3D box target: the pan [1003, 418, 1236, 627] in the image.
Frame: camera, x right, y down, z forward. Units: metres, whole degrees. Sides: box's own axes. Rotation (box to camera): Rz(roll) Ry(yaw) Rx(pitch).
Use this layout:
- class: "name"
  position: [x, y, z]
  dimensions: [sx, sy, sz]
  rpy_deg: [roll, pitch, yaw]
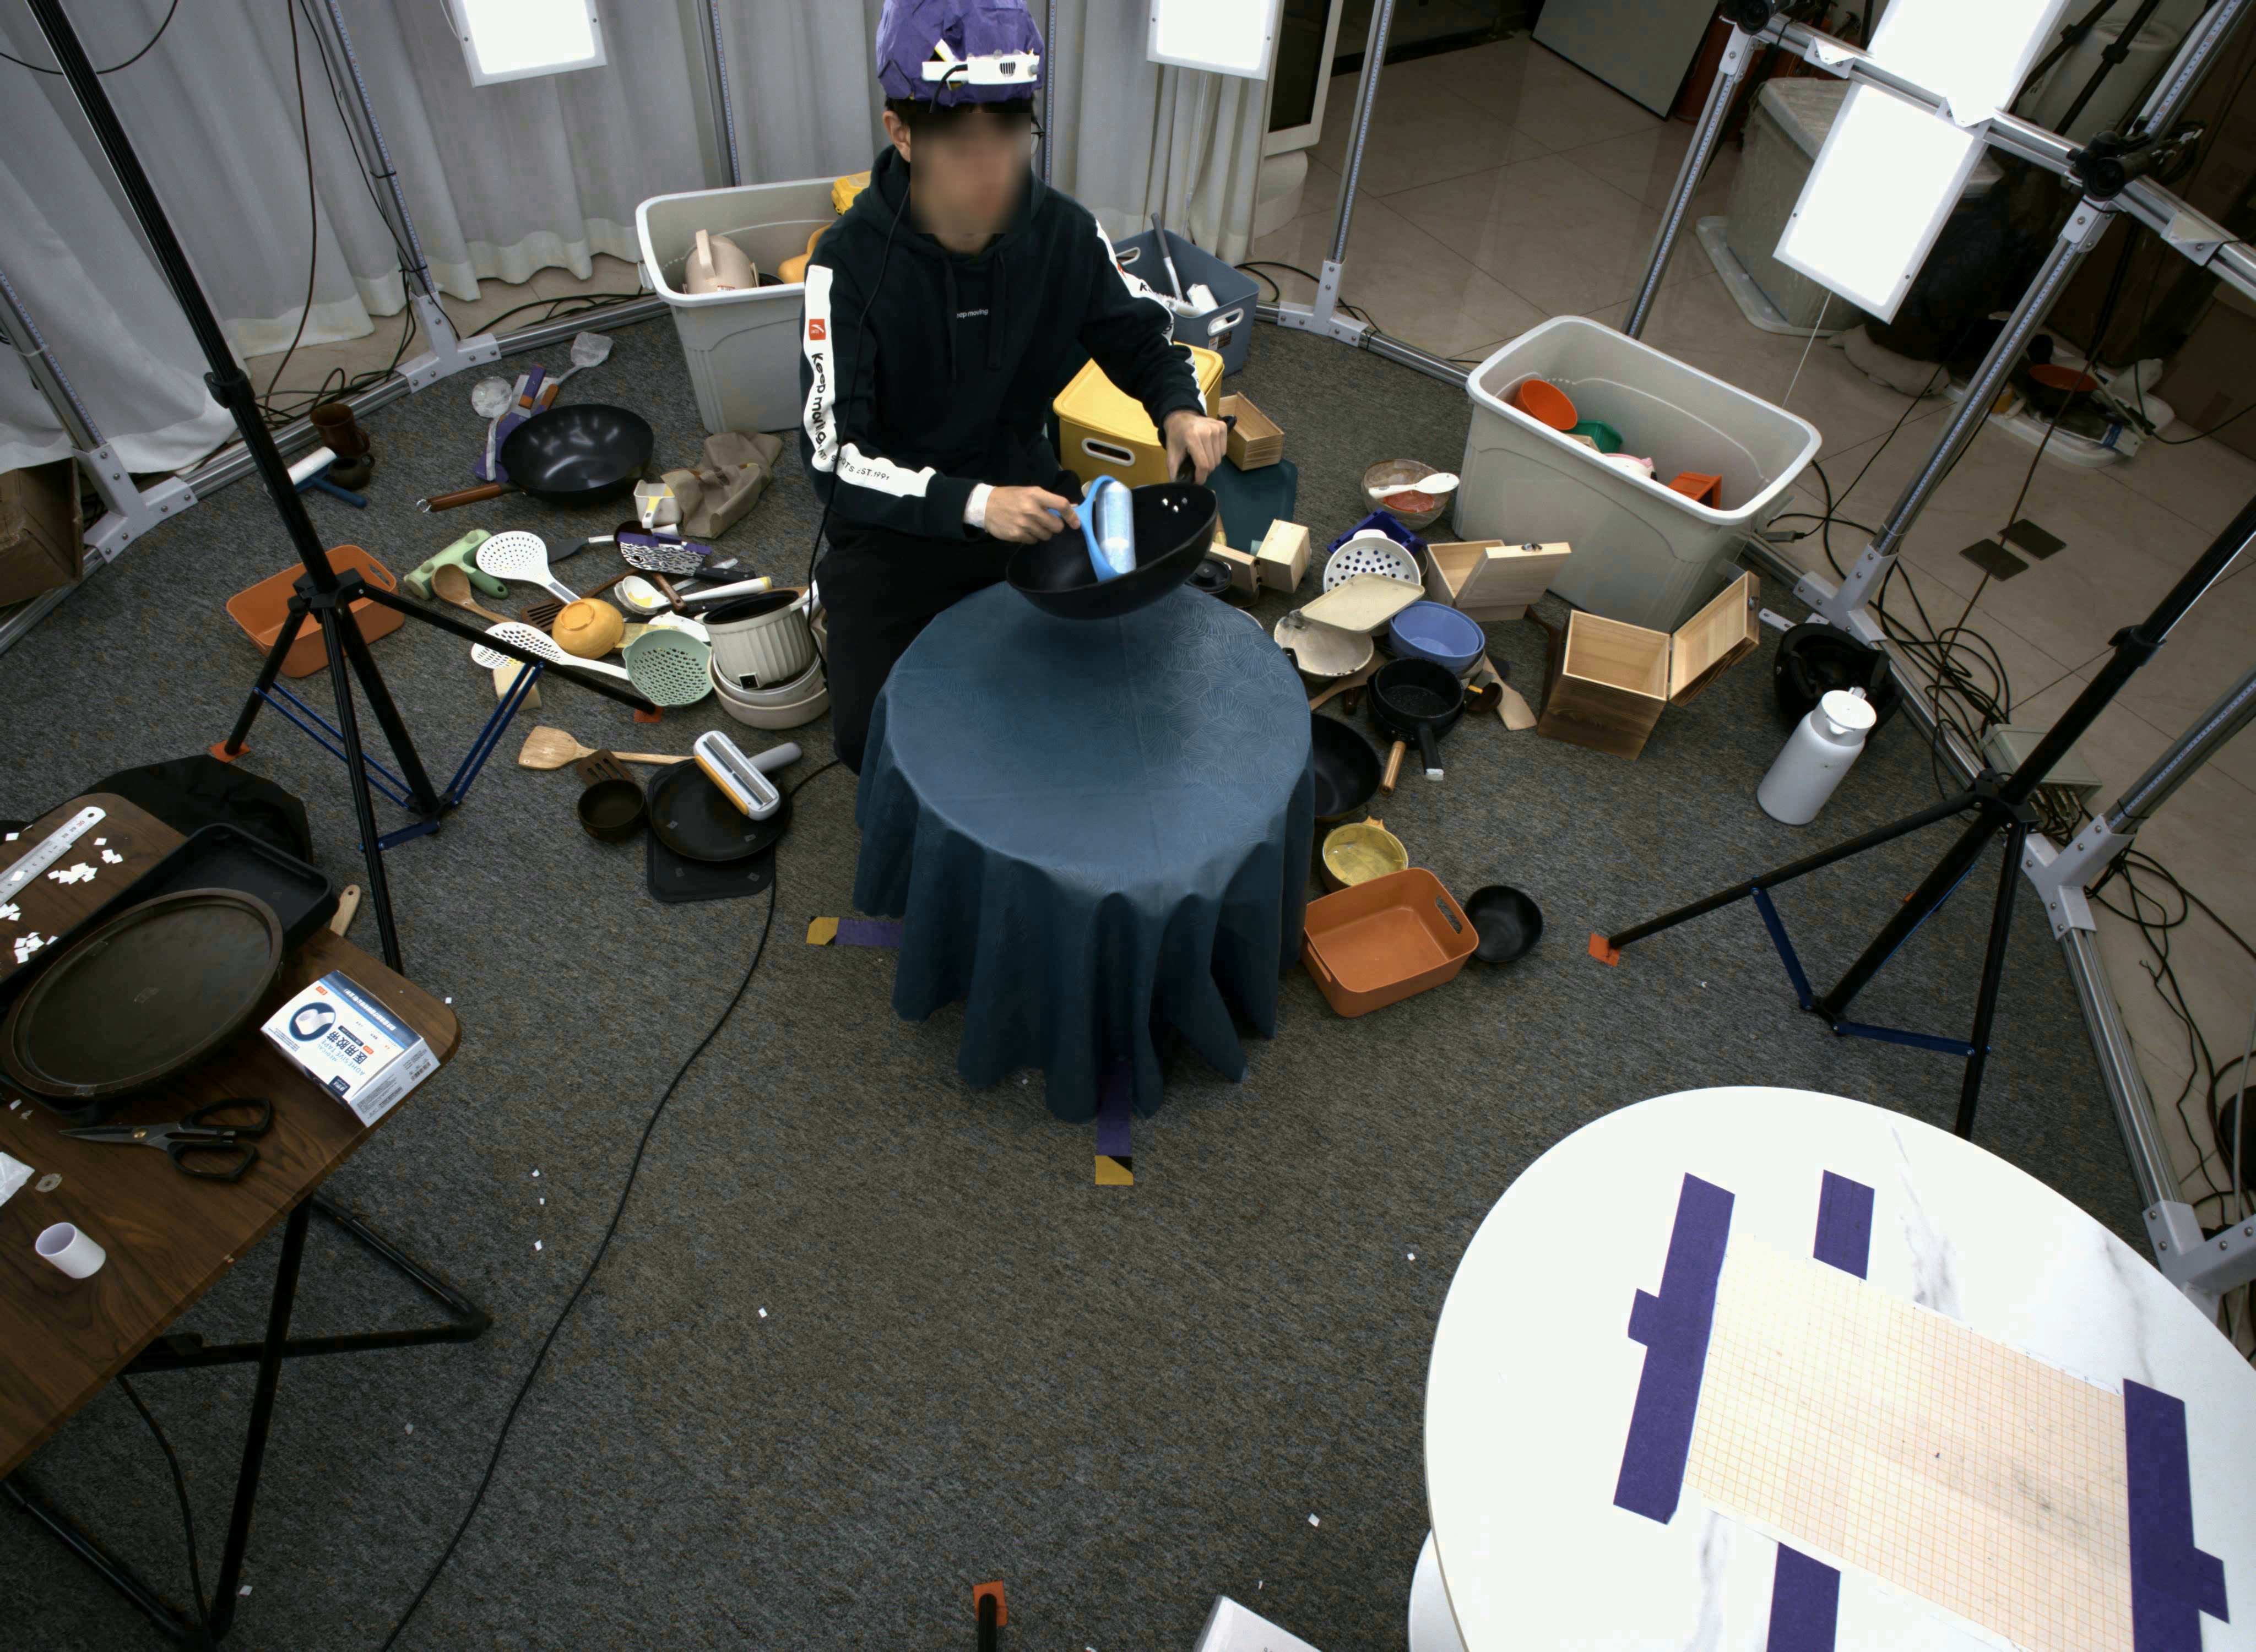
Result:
- class: "pan"
  position: [0.031, -0.419, 1.817]
  dimensions: [0.313, 0.109, 0.483]
  rpy_deg: [10, 44, 39]

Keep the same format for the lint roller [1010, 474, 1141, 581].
- class: "lint roller"
  position: [-0.069, -0.407, 1.783]
  dimensions: [0.179, 0.066, 0.234]
  rpy_deg: [7, 53, -18]
